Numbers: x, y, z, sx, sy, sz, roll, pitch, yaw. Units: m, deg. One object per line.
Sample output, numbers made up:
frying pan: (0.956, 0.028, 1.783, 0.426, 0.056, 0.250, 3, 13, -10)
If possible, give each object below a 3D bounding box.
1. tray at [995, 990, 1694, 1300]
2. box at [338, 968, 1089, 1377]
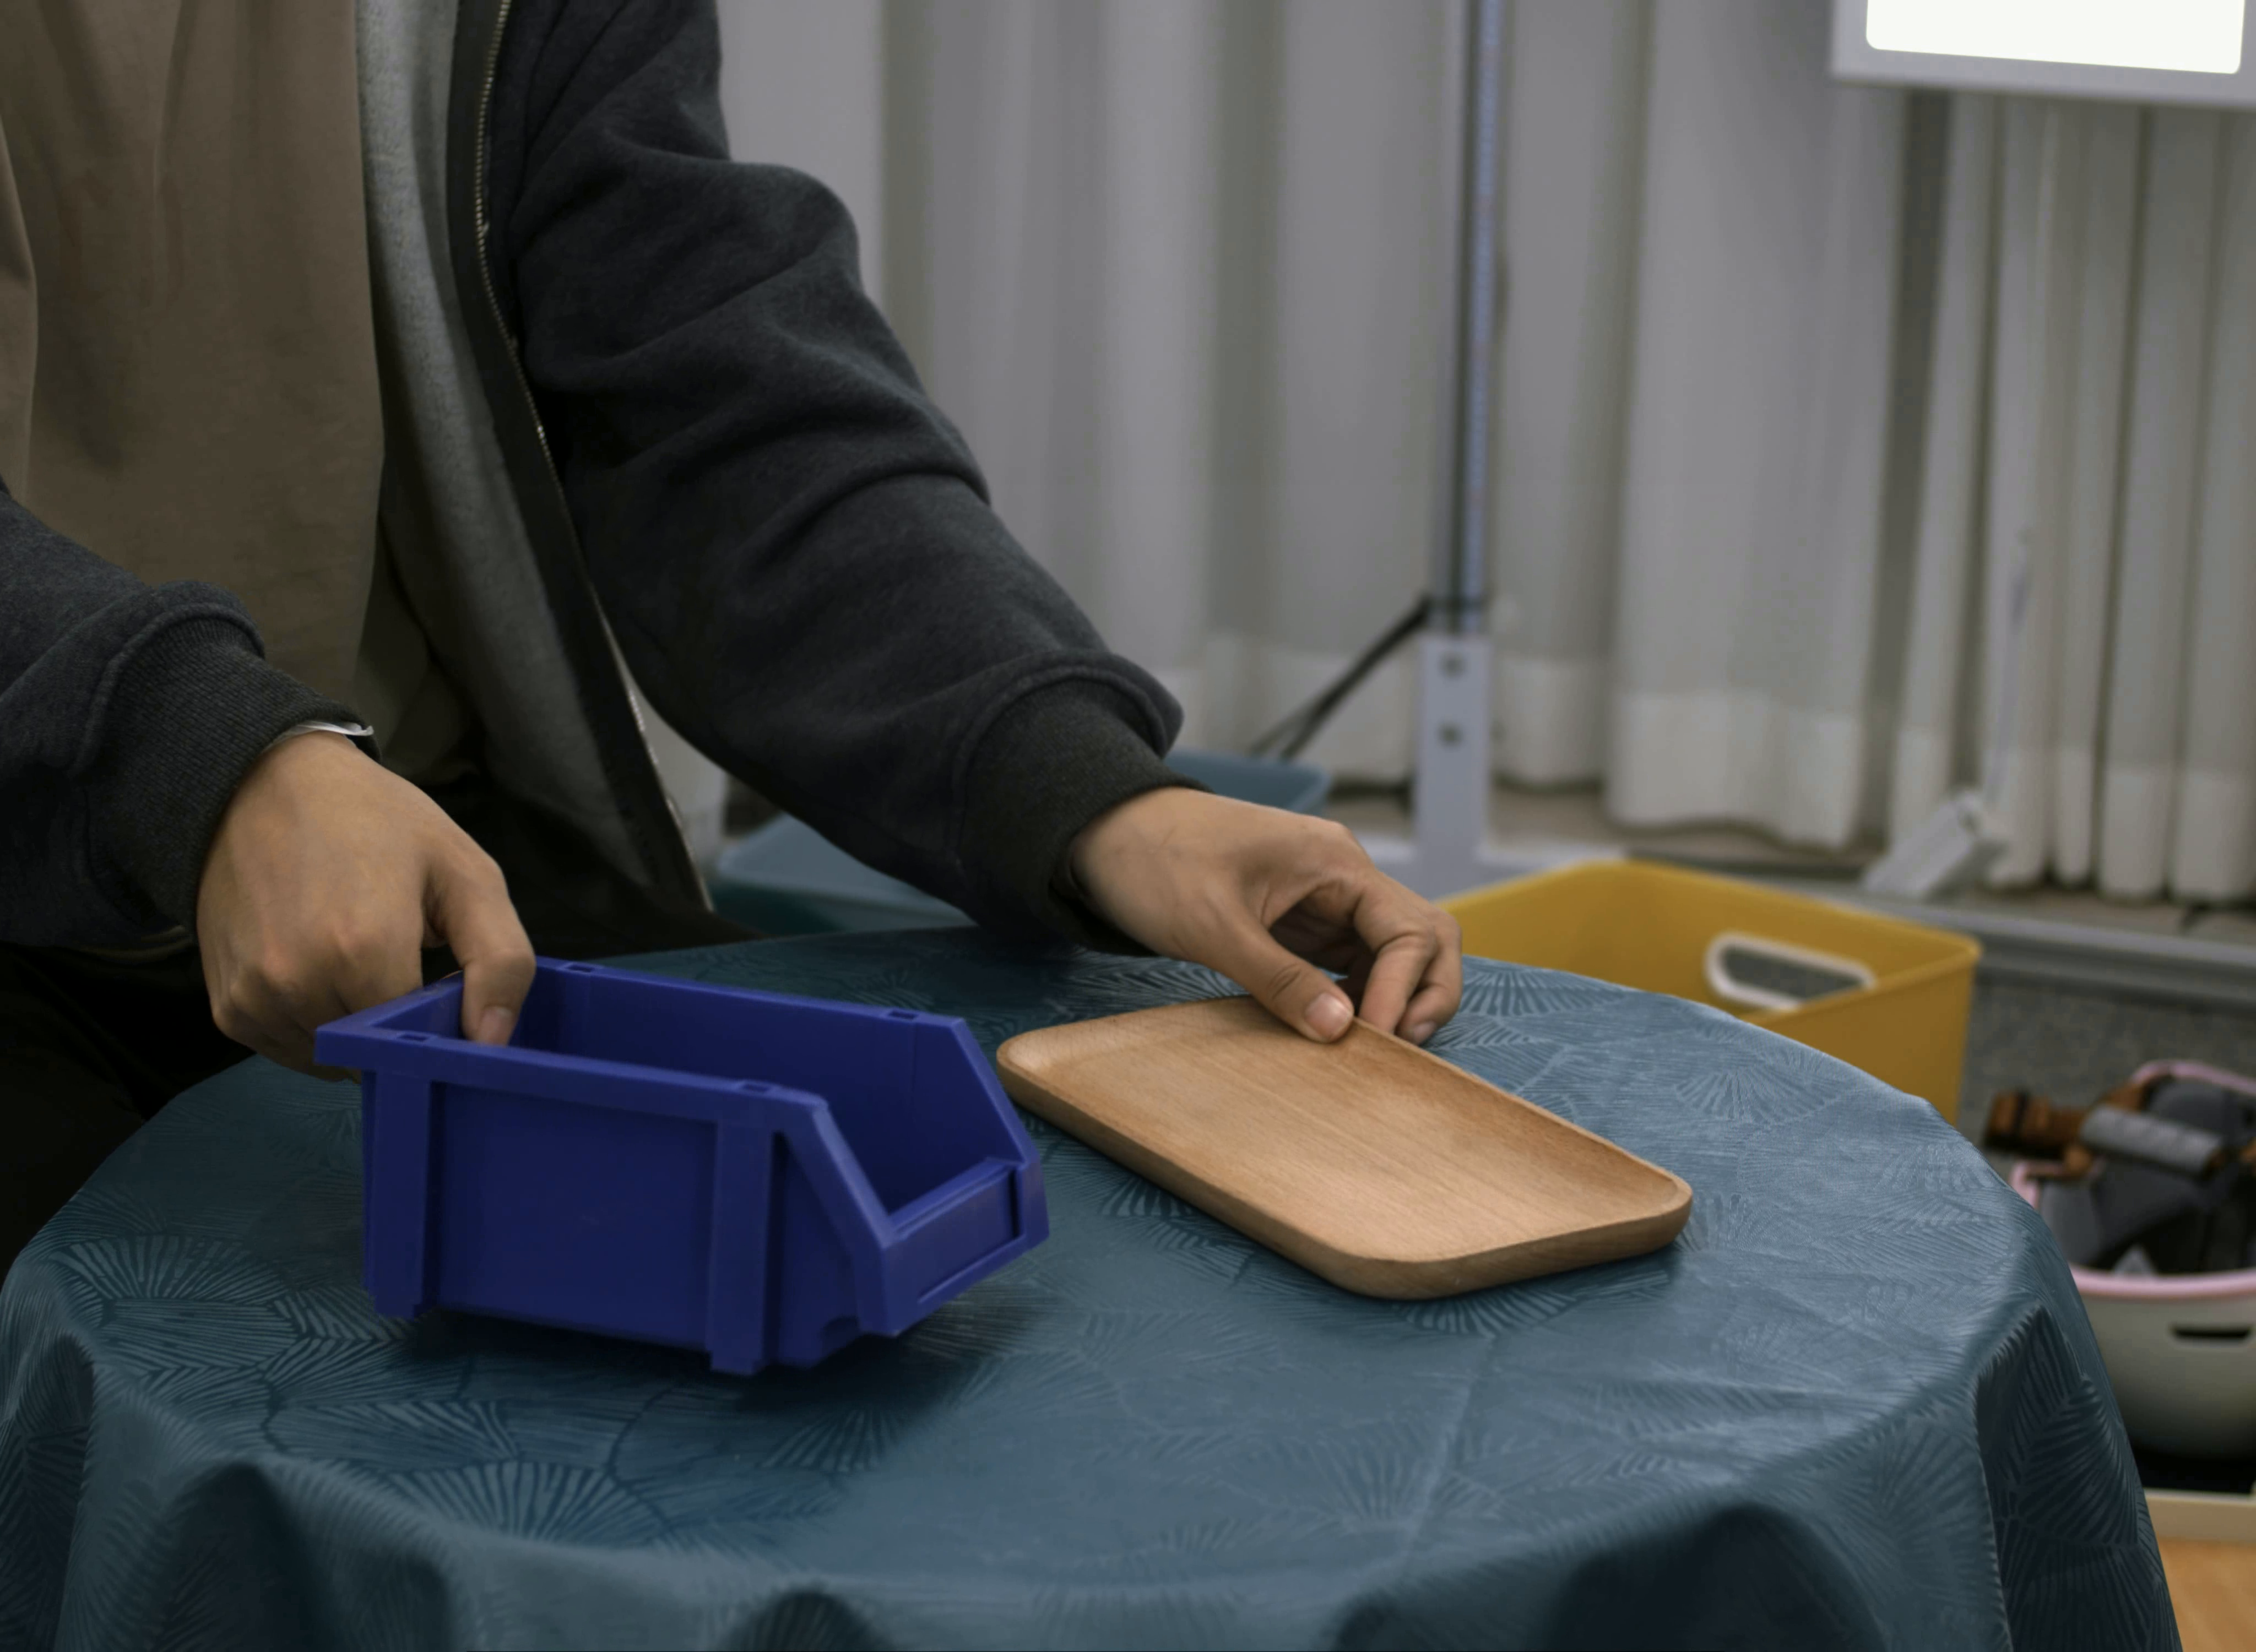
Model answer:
tray: (0.063, 0.097, 1.647, 0.131, 0.023, 0.247, -6, 16, -30)
box: (-0.115, 0.097, 1.495, 0.177, 0.082, 0.125, 5, 11, 22)
